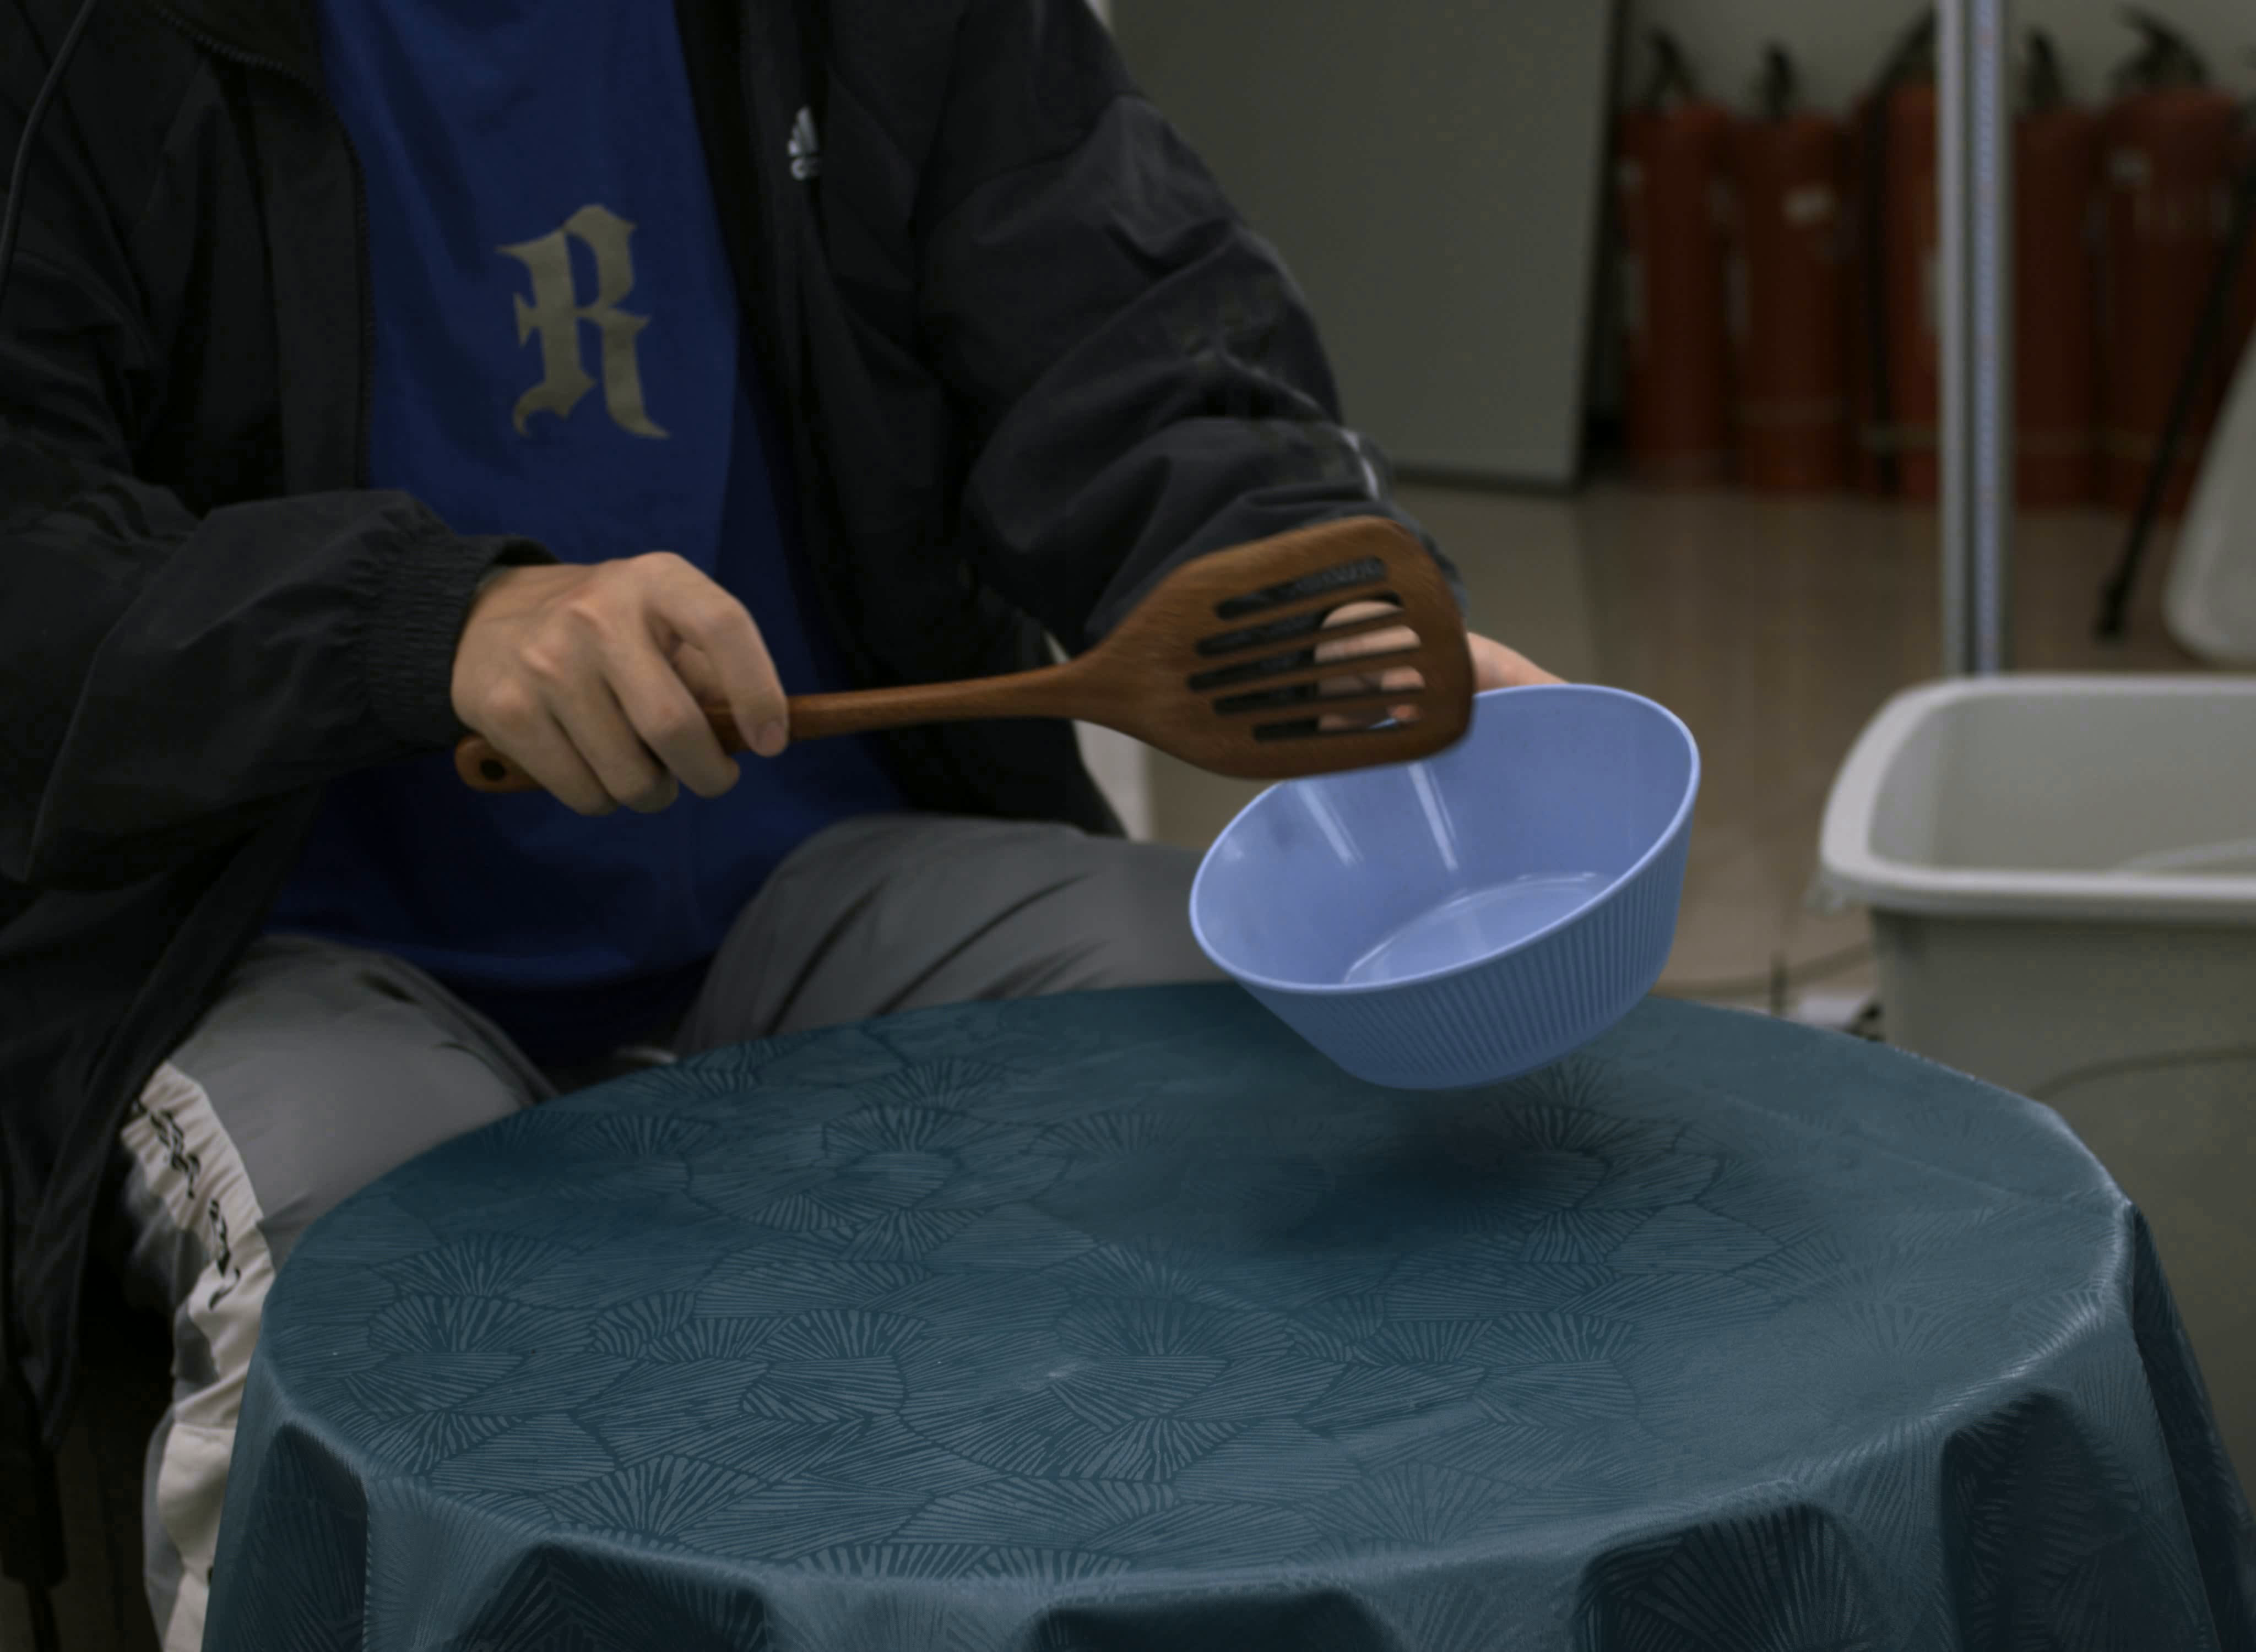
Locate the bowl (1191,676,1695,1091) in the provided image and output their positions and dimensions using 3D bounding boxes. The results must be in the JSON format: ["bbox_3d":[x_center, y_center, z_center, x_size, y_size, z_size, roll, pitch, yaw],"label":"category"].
[{"bbox_3d":[0.112,0.027,1.762,0.175,0.070,0.177,-20,26,9],"label":"bowl"}]

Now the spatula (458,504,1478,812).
[{"bbox_3d":[-0.064,-0.039,1.779,0.388,0.086,0.024,-8,16,30],"label":"spatula"}]
